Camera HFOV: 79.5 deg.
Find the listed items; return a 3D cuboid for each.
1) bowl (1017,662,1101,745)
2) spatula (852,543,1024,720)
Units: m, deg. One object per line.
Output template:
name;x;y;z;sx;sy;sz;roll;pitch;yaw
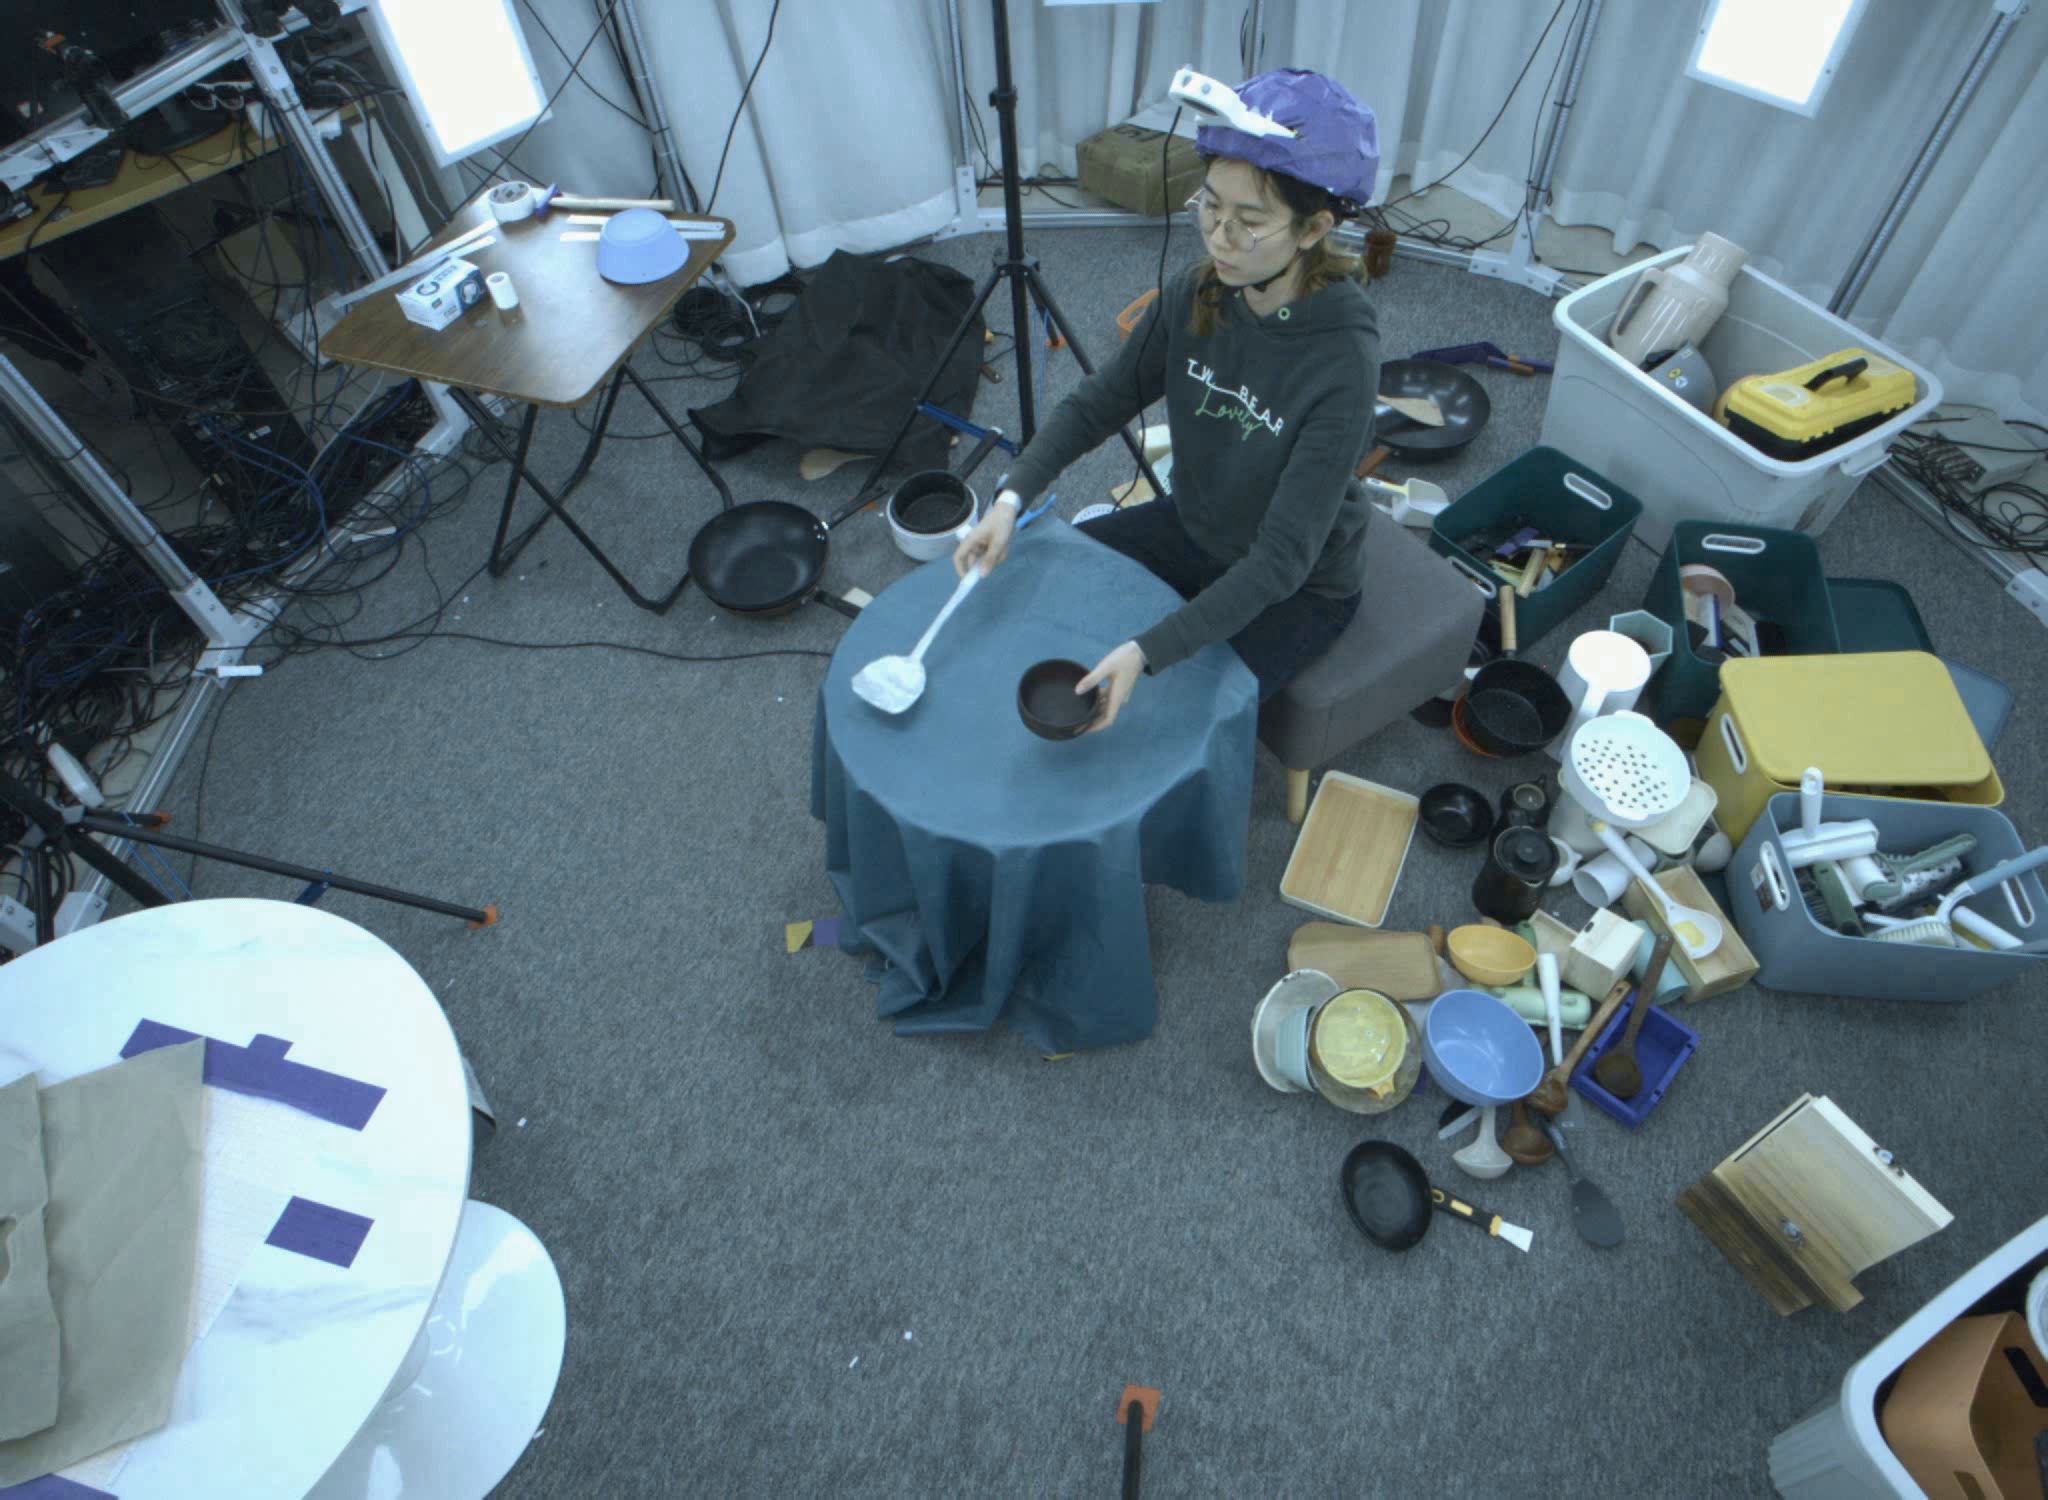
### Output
bowl;0.048;-0.058;1.727;0.118;0.070;0.117;3;60;-4
spatula;-0.118;-0.194;1.860;0.097;0.045;0.365;33;77;16
